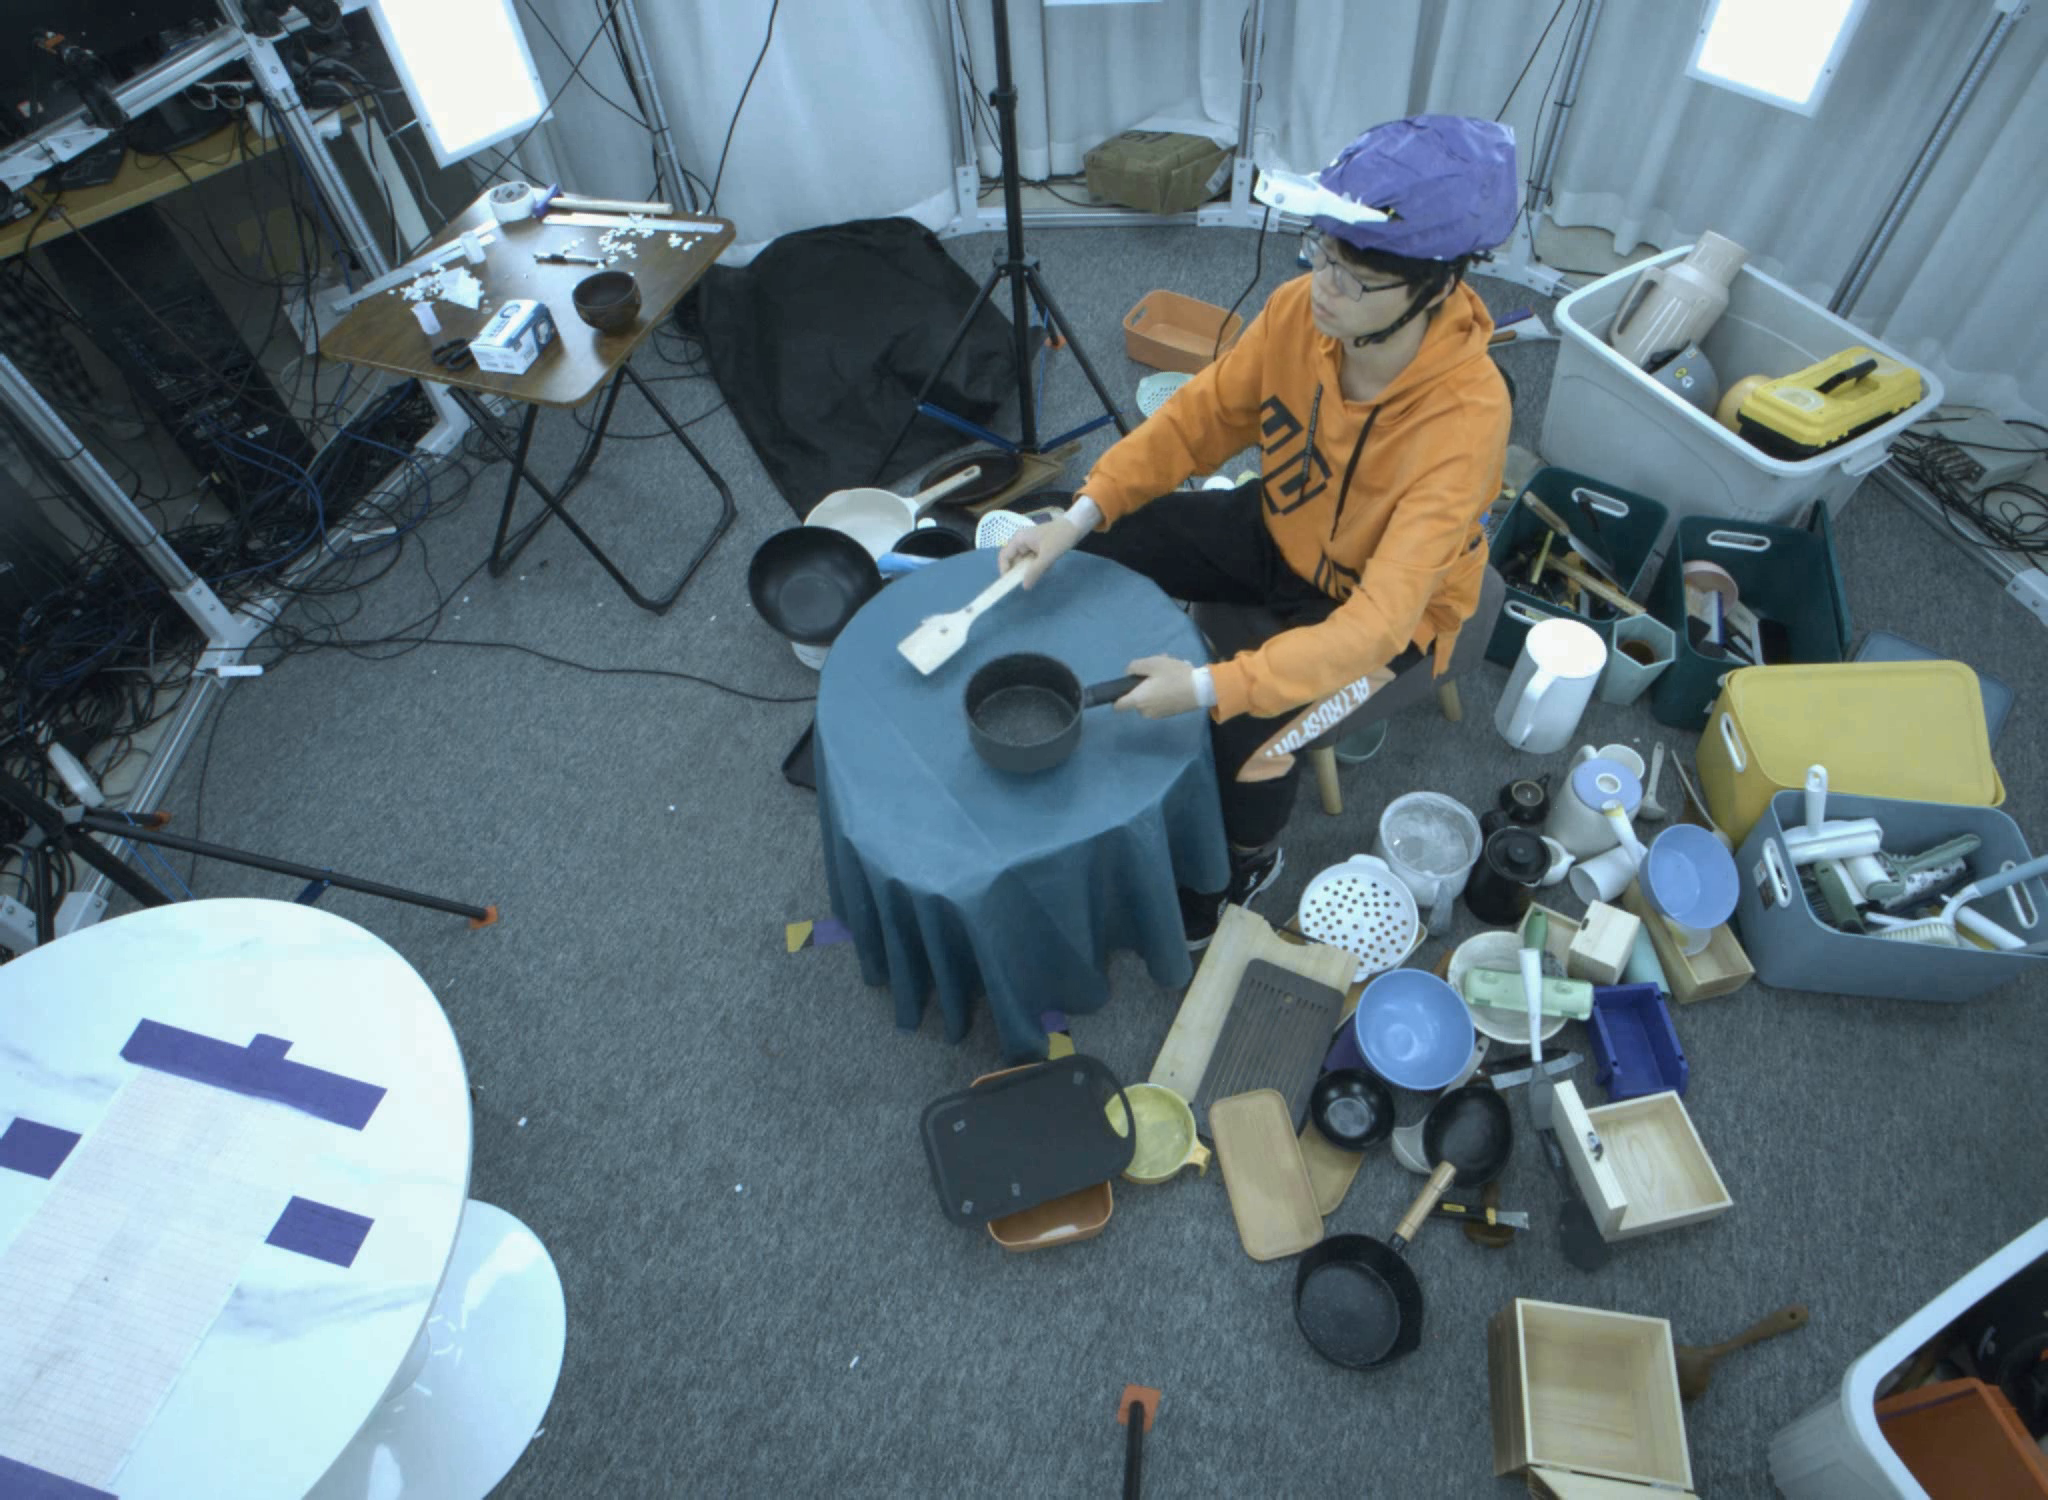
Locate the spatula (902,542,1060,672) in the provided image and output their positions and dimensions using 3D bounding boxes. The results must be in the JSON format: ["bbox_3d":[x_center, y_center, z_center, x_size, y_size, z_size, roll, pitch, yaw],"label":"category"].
[{"bbox_3d":[-0.060,-0.229,1.893,0.294,0.011,0.071,-40,65,-12],"label":"spatula"}]

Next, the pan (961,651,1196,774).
[{"bbox_3d":[0.078,-0.064,1.742,0.330,0.087,0.169,-8,56,-4],"label":"pan"}]
